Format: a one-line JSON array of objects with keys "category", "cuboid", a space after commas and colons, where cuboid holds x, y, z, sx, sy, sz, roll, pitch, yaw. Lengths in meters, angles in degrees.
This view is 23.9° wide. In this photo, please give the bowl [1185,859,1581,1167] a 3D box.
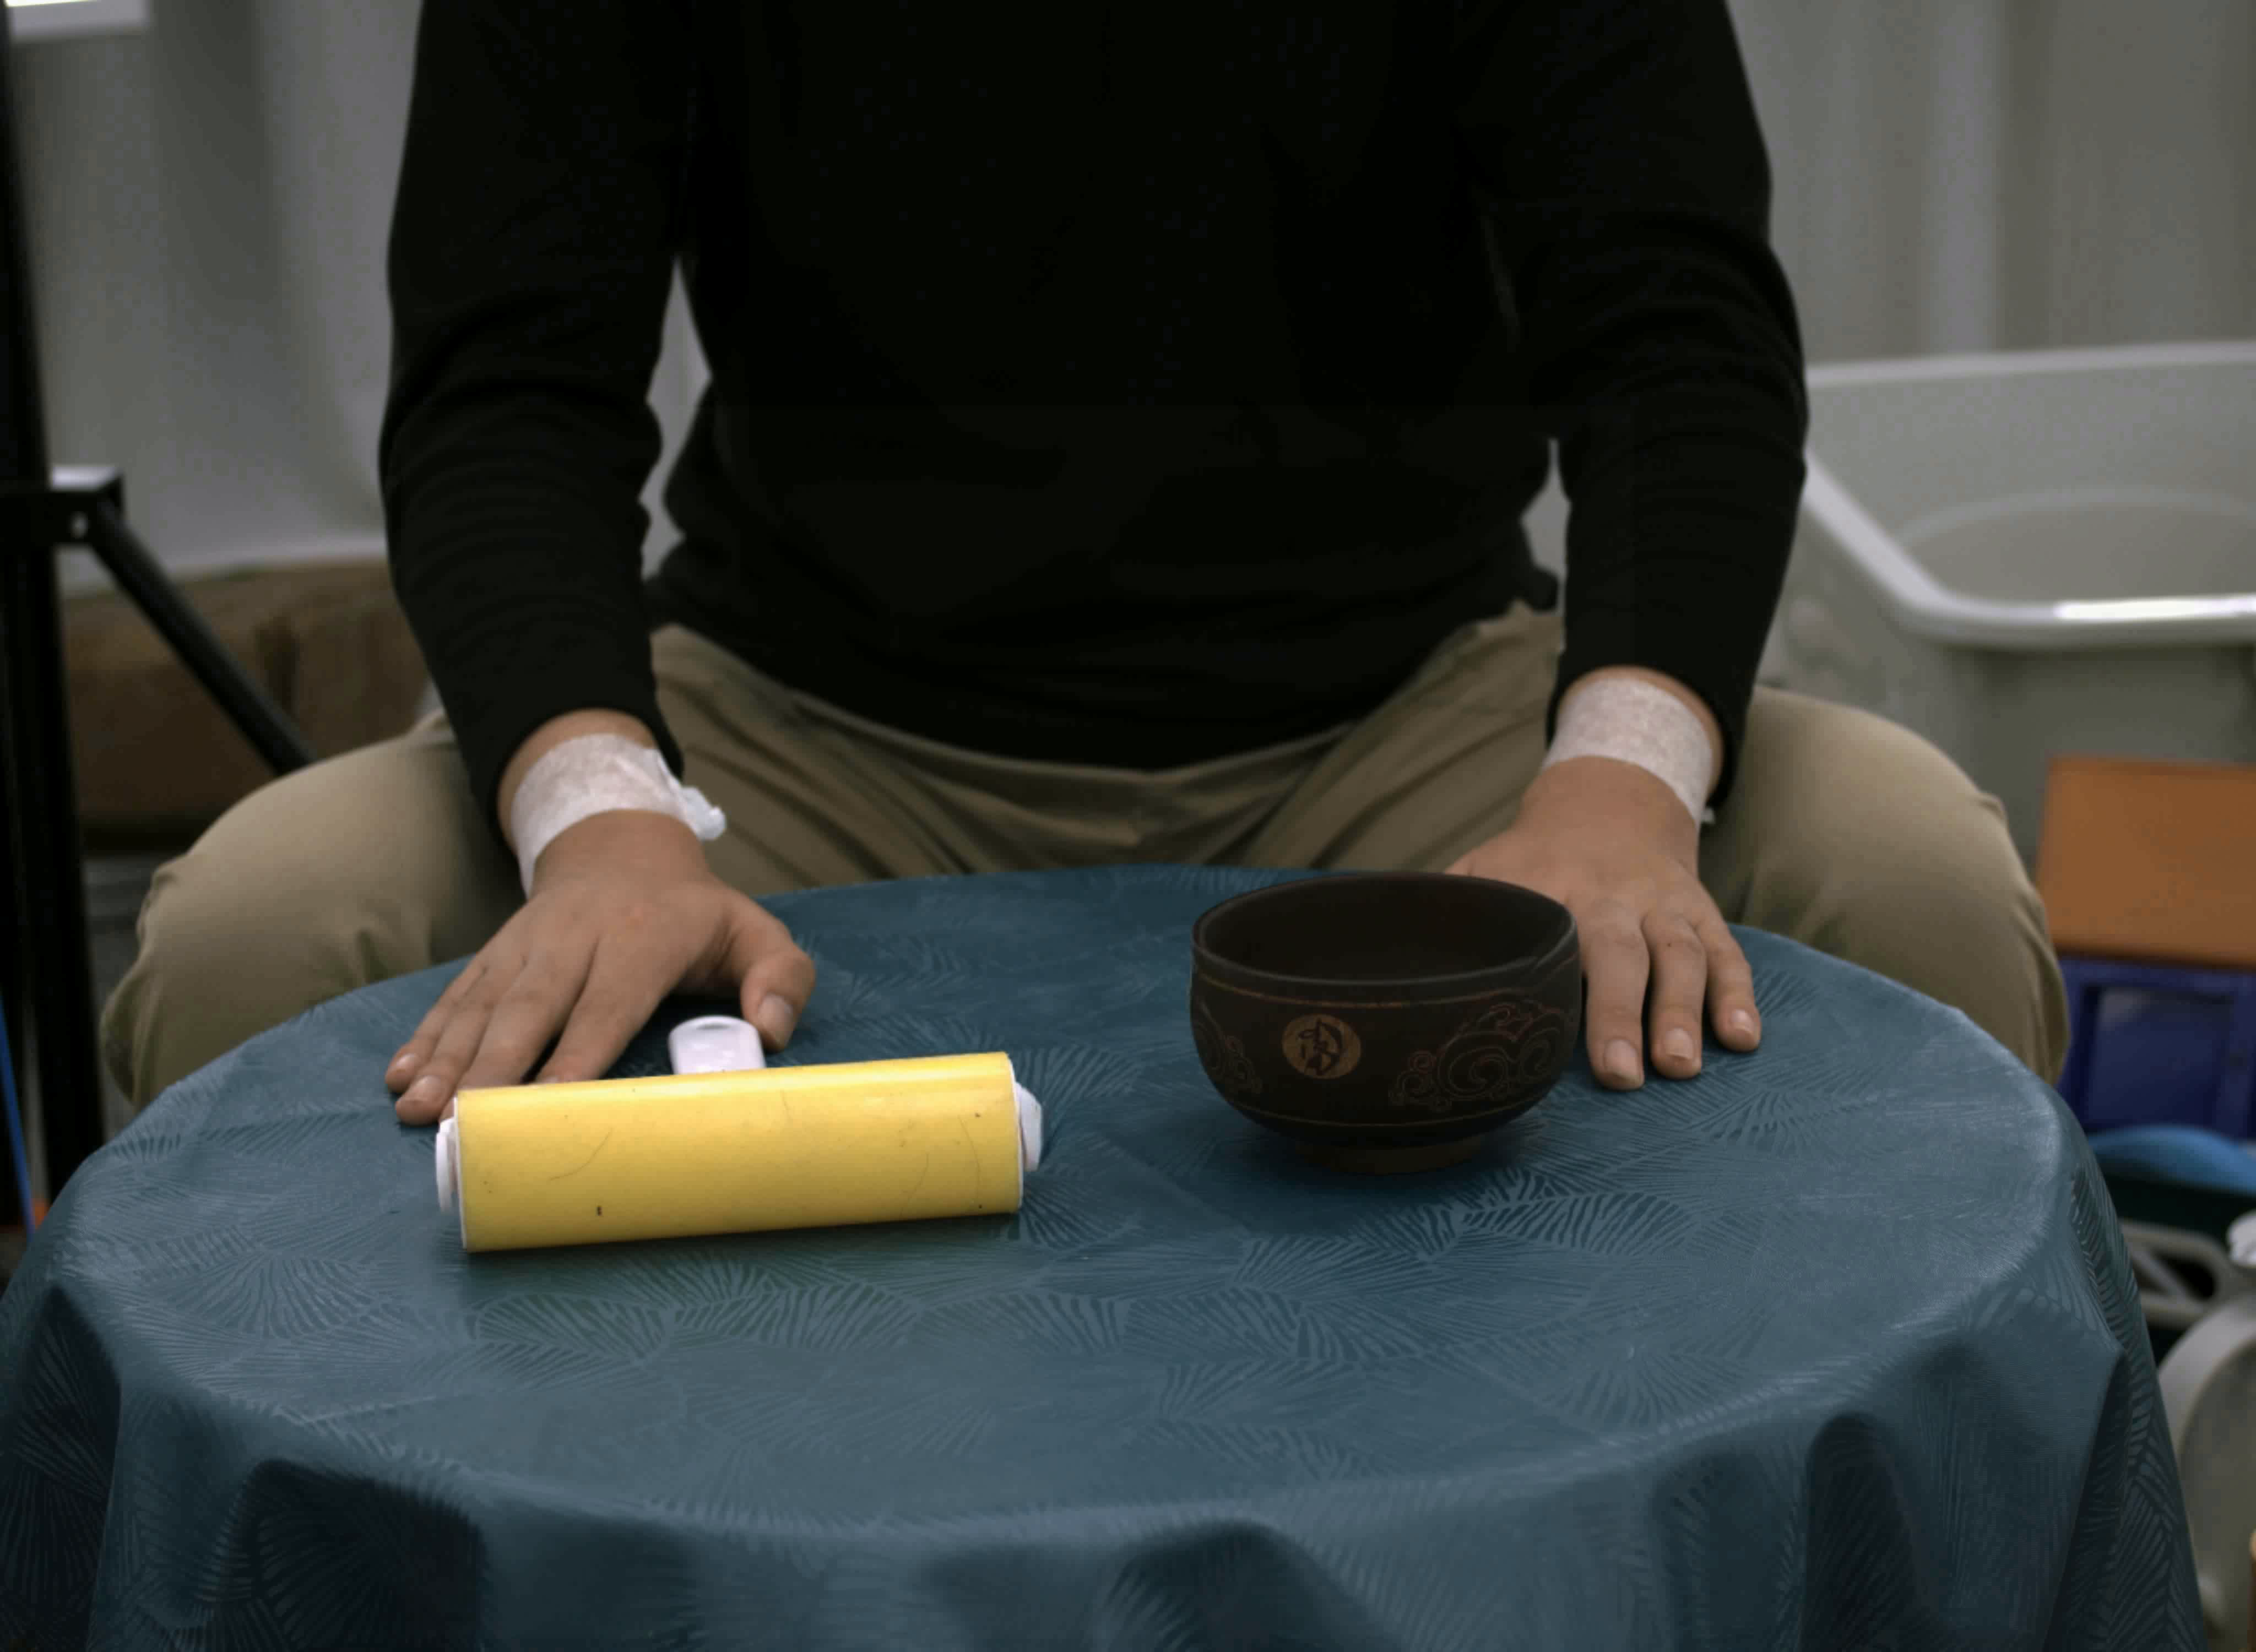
[{"category": "bowl", "cuboid": [0.076, 0.060, 1.579, 0.117, 0.070, 0.118, -2, 16, -1]}]

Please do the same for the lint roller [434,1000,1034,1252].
[{"category": "lint roller", "cuboid": [-0.125, 0.073, 1.606, 0.172, 0.051, 0.194, -4, 20, -7]}]
